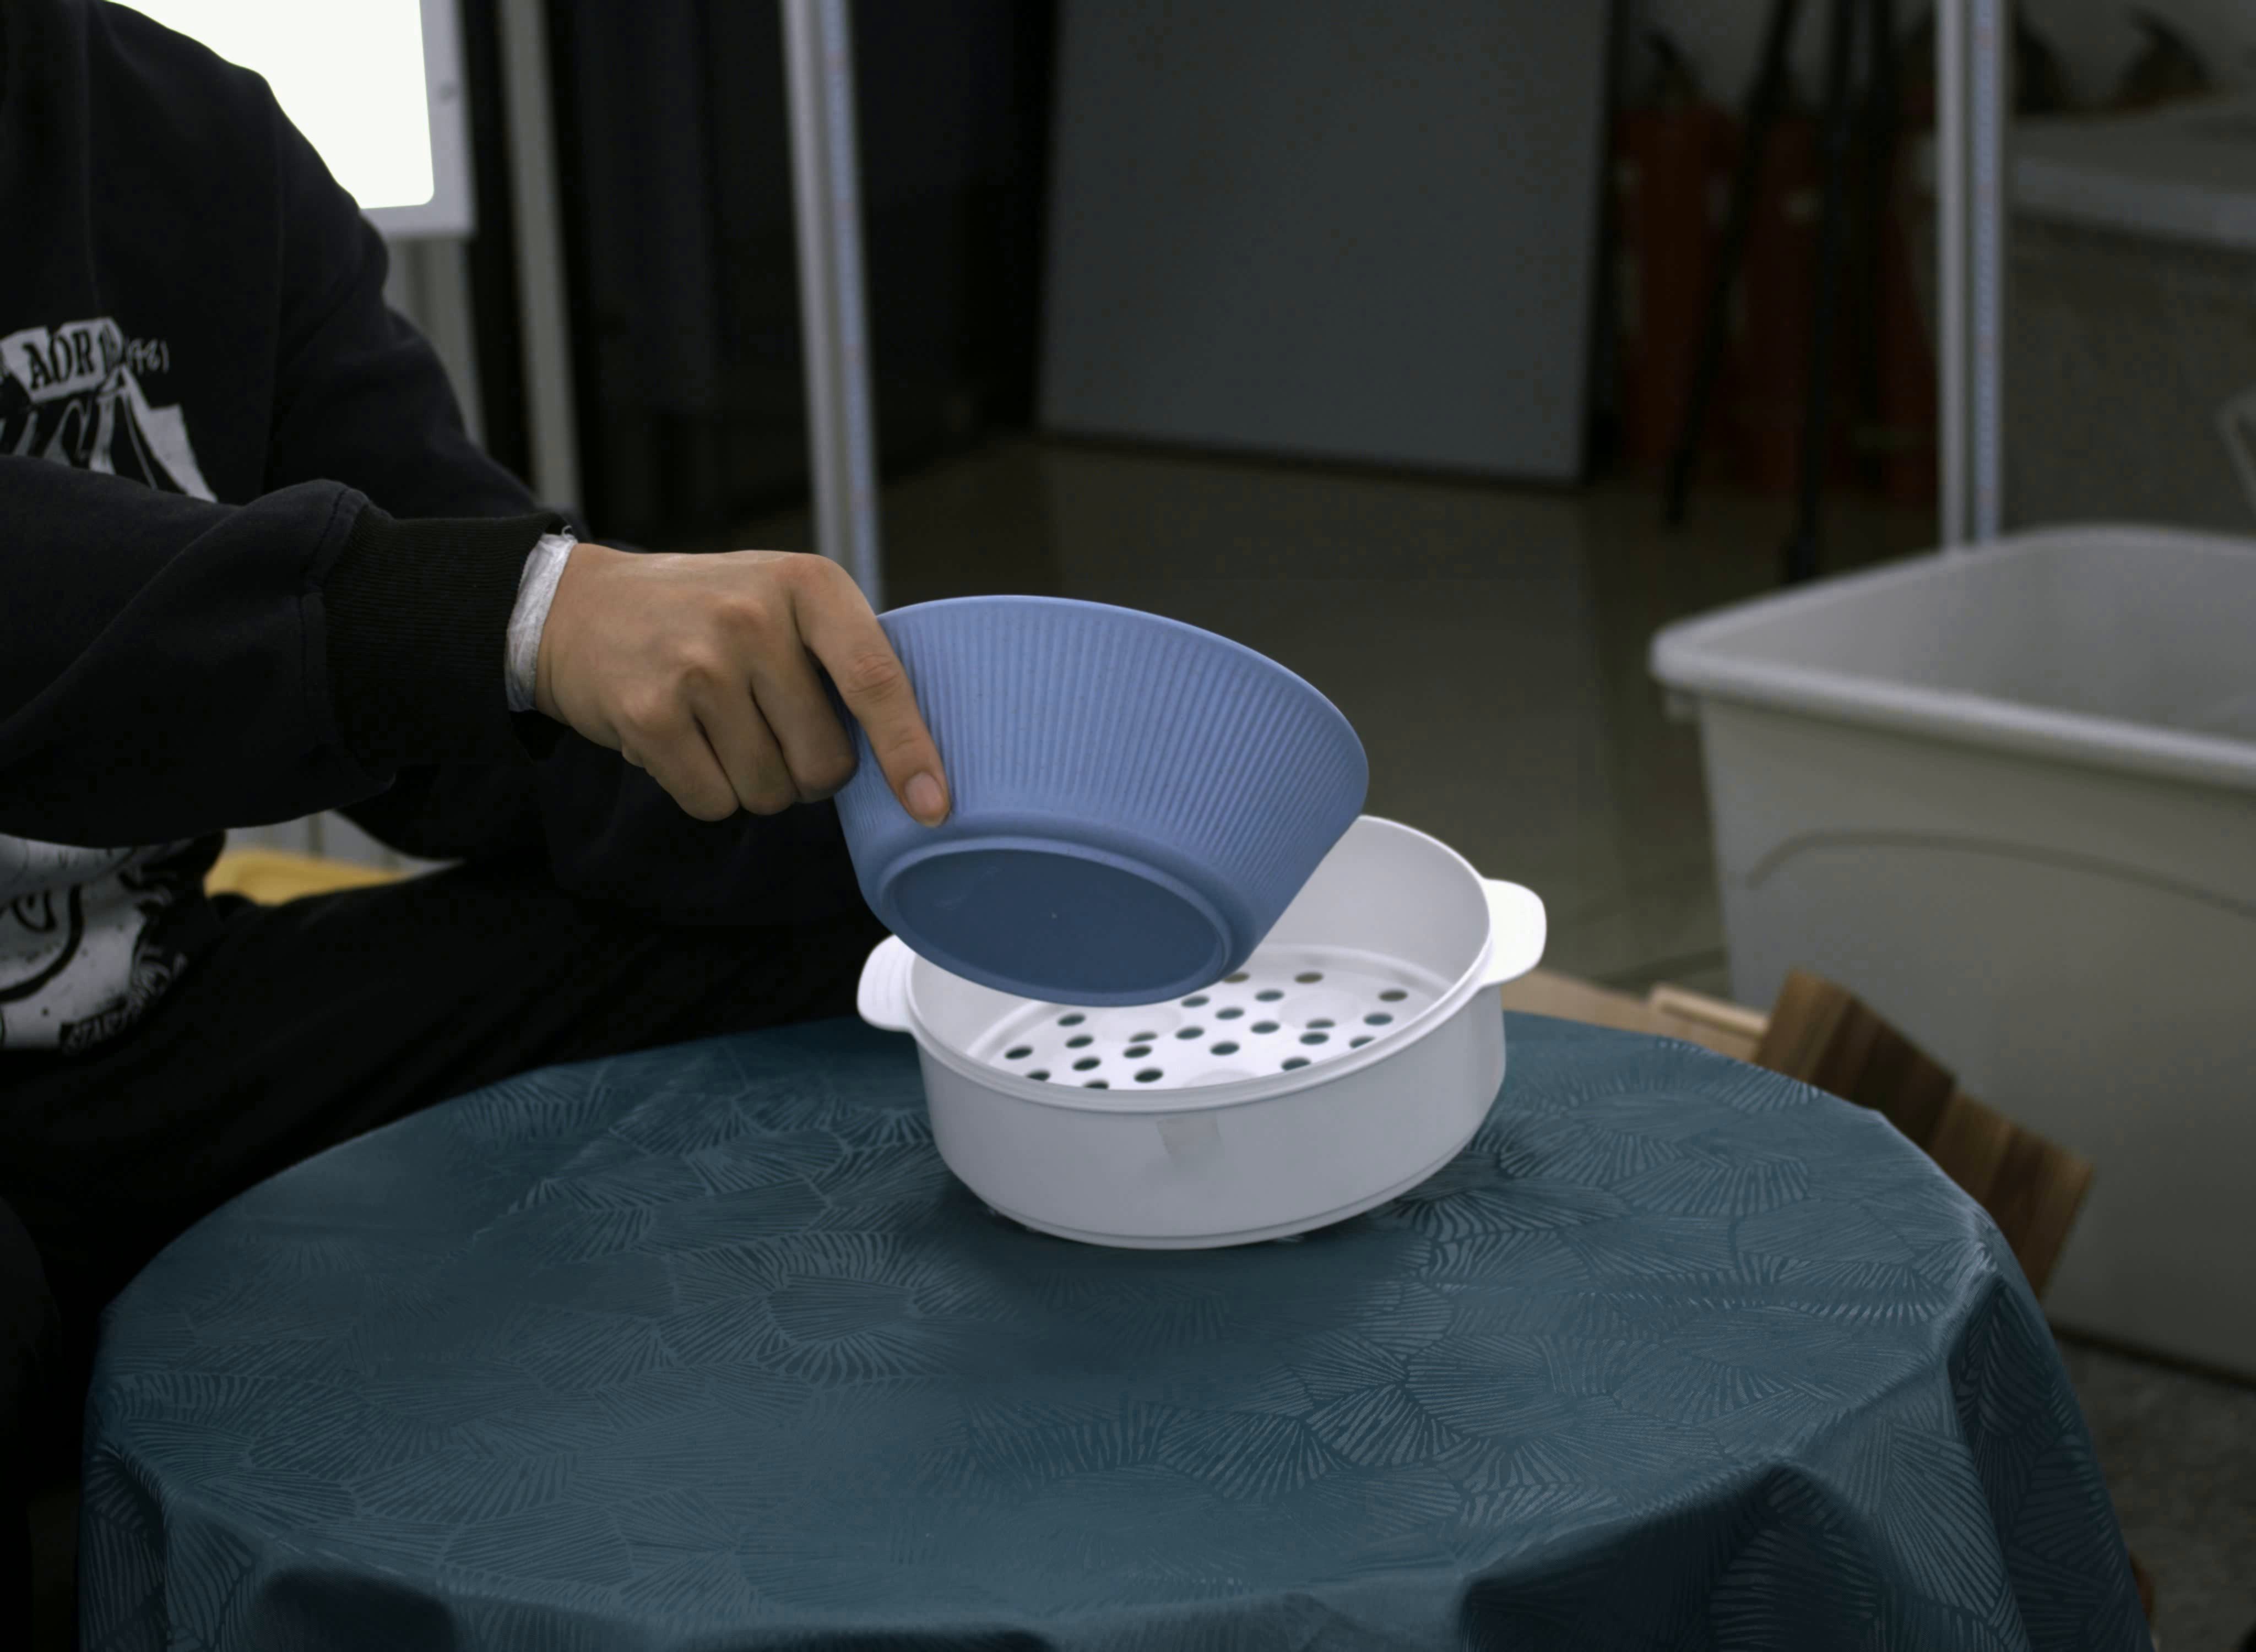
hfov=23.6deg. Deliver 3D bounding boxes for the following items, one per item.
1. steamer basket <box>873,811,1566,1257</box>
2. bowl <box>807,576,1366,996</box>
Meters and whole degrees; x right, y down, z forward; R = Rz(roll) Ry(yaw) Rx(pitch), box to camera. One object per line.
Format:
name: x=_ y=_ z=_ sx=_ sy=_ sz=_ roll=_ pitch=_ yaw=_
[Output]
steamer basket: x=0.032 y=0.067 z=1.775 sx=0.228 sy=0.070 sz=0.202 roll=-4 pitch=26 yaw=7
bowl: x=-0.017 y=-0.003 z=1.636 sx=0.174 sy=0.071 sz=0.176 roll=9 pitch=-27 yaw=3
